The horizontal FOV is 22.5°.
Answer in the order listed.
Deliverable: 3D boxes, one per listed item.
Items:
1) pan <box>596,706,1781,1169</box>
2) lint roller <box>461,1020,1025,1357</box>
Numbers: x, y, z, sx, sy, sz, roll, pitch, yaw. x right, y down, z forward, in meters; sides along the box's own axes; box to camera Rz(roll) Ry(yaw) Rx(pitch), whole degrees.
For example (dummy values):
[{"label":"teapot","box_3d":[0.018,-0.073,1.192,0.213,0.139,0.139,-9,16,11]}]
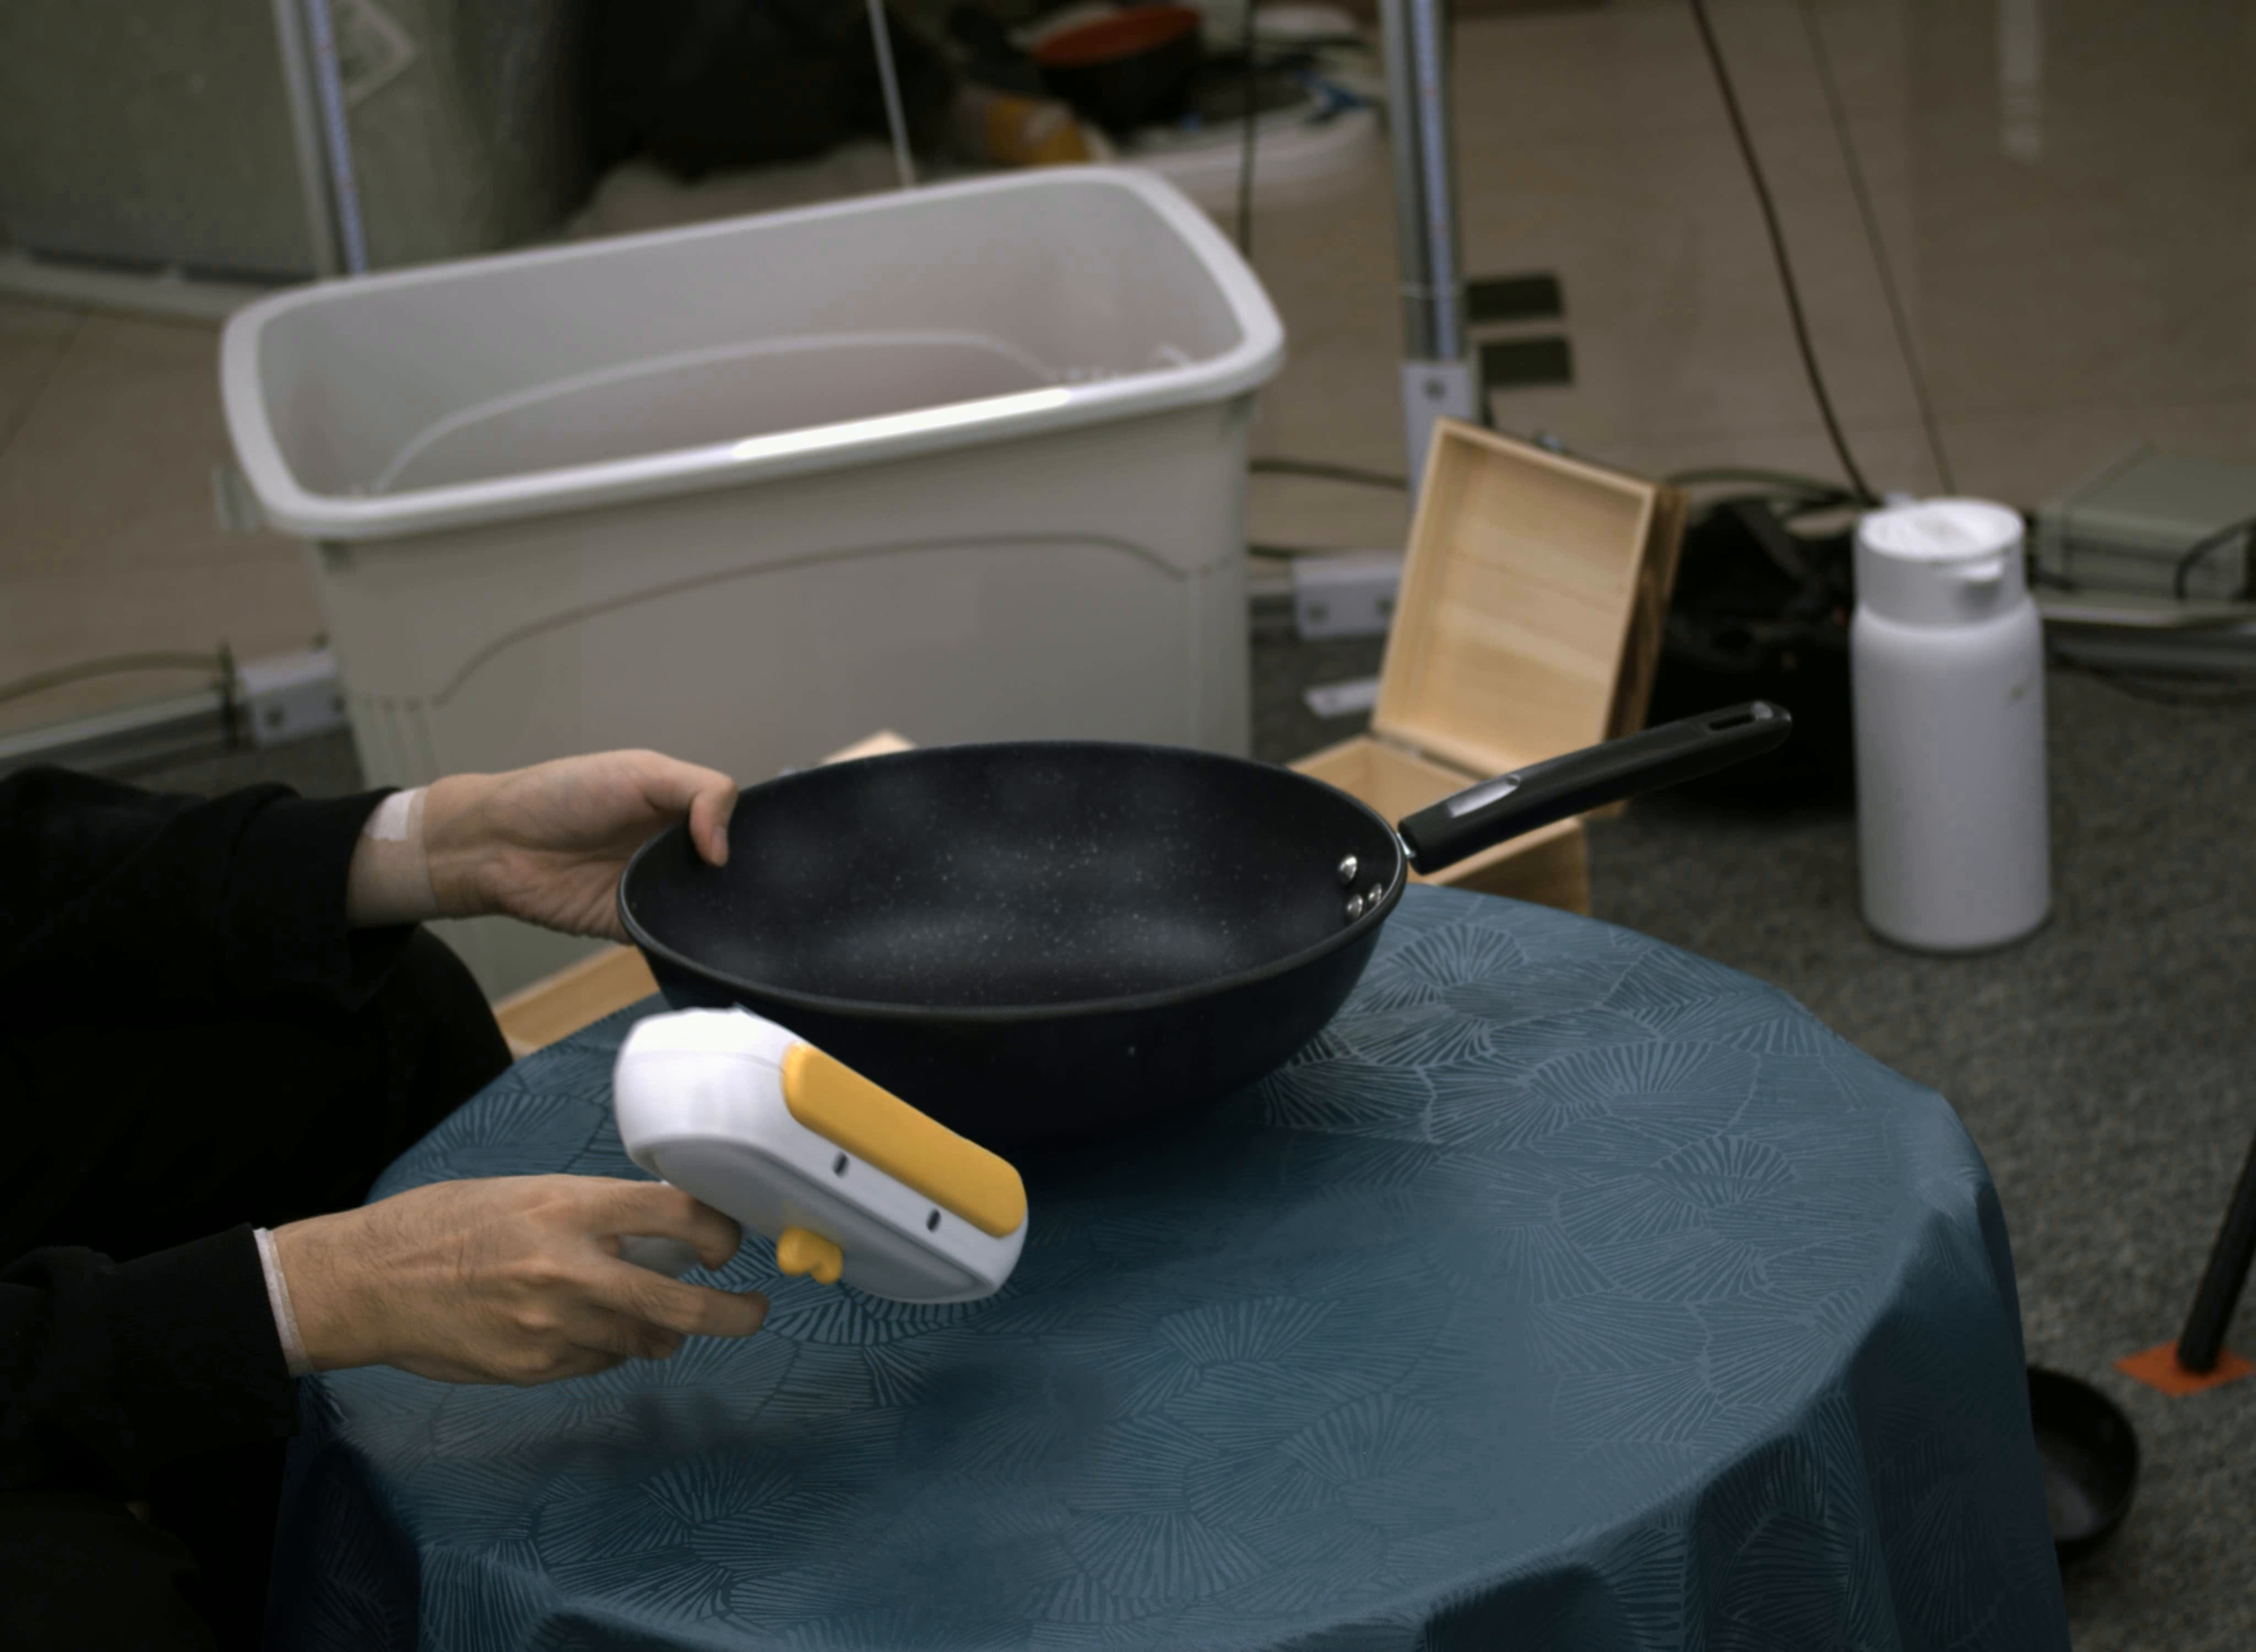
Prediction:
[{"label":"pan","box_3d":[0.030,0.037,2.226,0.476,0.113,0.306,-8,23,-12]},{"label":"lint roller","box_3d":[-0.155,0.137,1.984,0.193,0.073,0.194,-17,-25,30]}]
